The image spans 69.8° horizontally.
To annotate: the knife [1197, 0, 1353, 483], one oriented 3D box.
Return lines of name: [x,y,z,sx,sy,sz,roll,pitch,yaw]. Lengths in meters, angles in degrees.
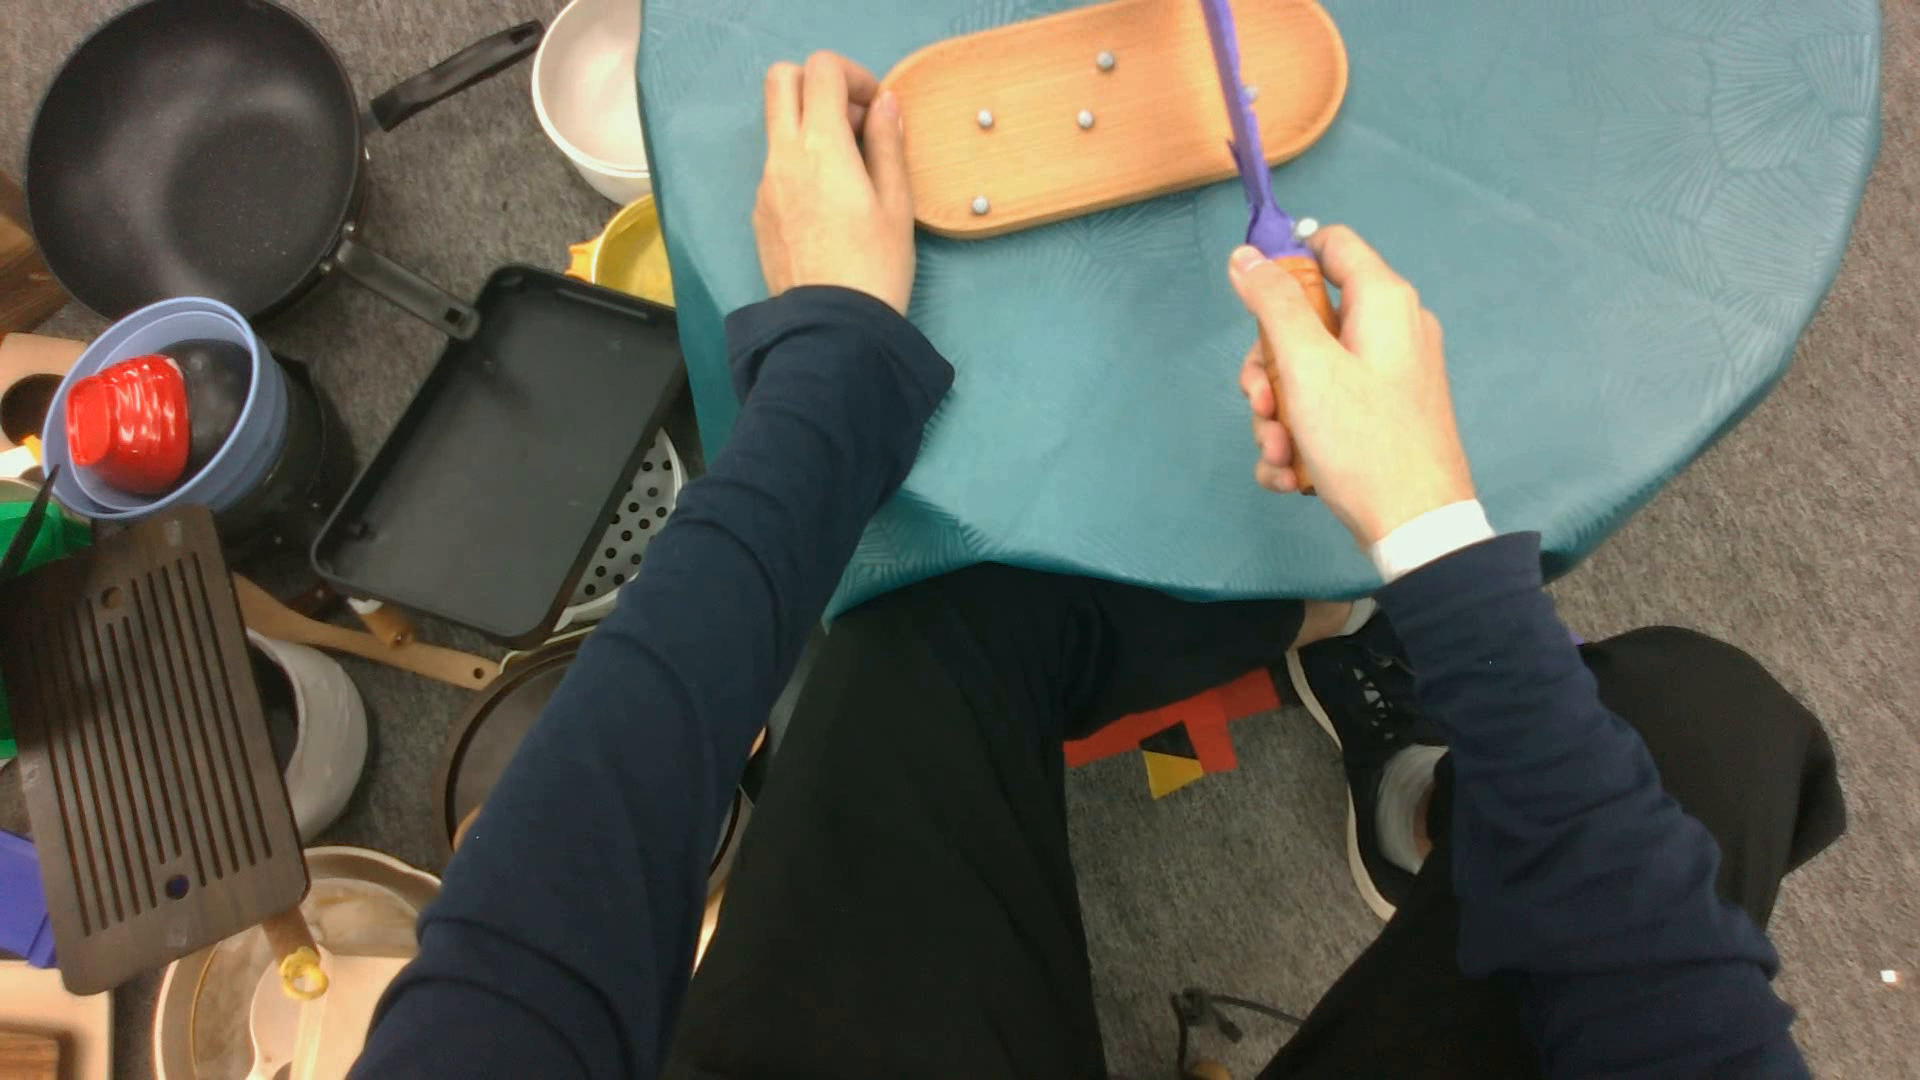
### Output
knife: [0.121,-0.175,0.581,0.032,0.104,0.315,-10,81,12]

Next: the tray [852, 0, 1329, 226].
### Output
tray: [0.062,-0.213,0.660,0.231,0.020,0.102,-15,77,-4]
